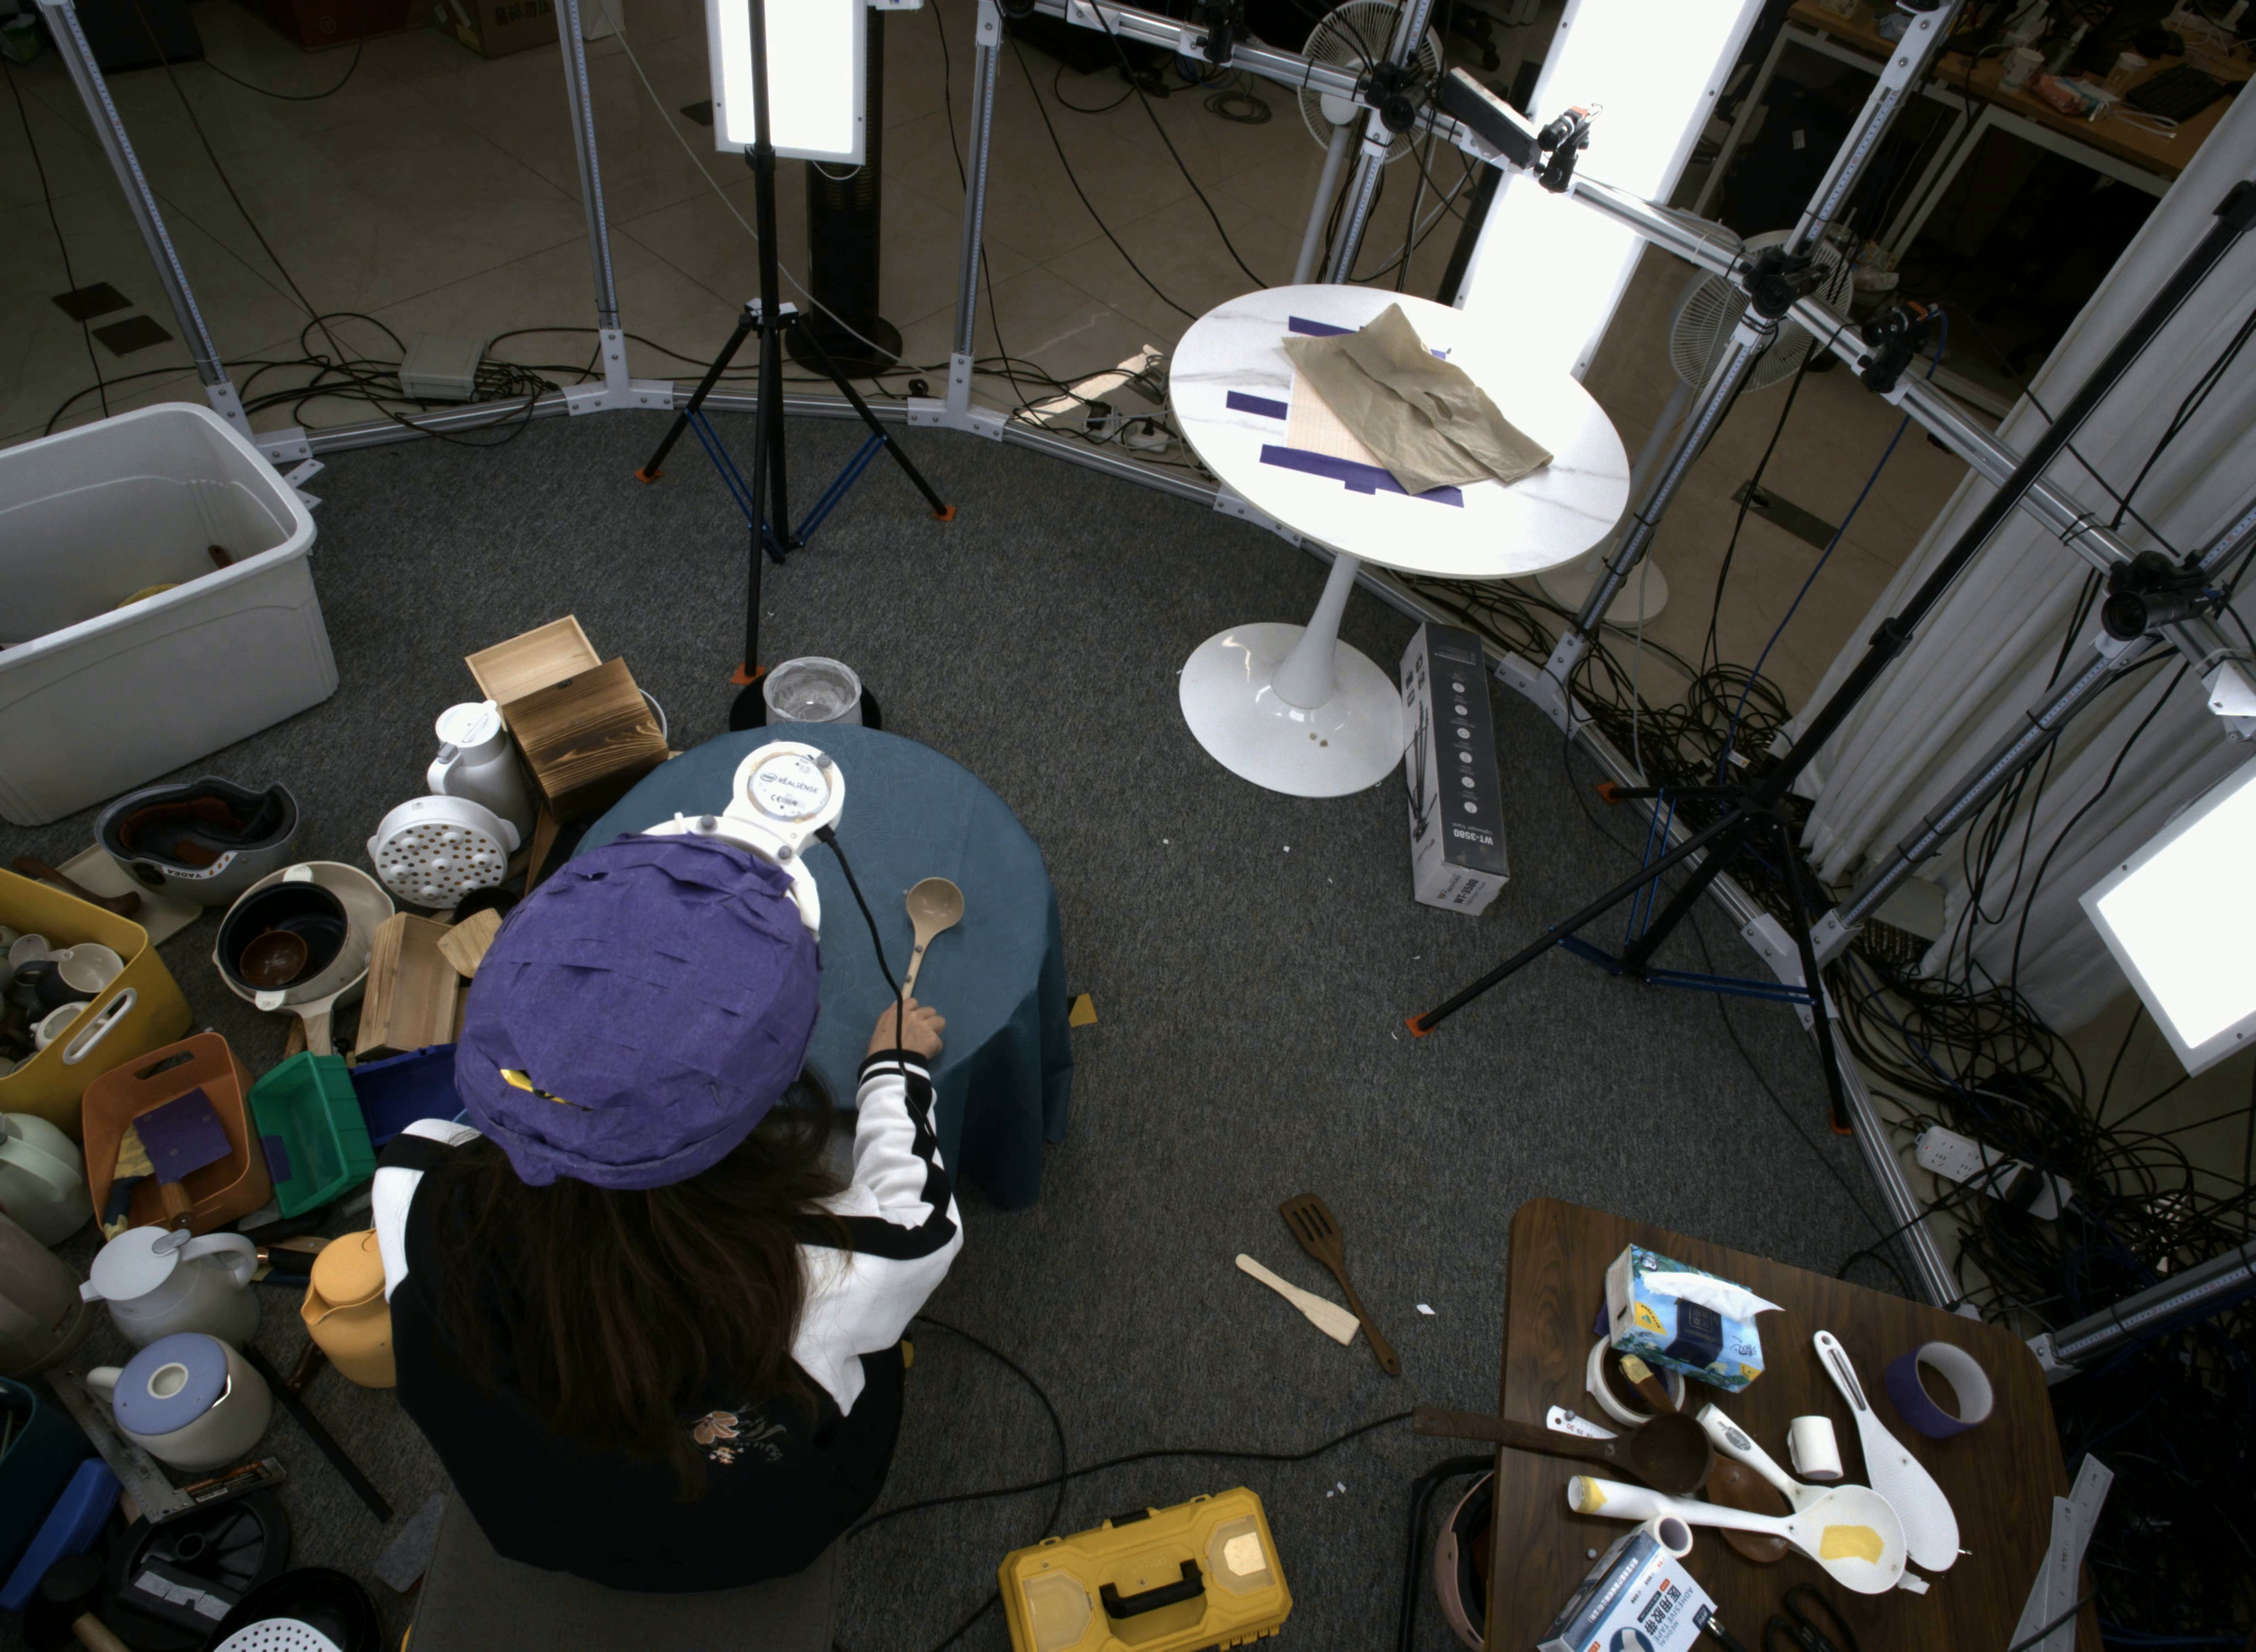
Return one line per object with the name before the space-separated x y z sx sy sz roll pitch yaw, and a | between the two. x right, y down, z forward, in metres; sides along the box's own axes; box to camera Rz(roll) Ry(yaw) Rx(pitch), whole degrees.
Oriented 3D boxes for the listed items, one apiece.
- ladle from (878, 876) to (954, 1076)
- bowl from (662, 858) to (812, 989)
ladle | -0.266 0.172 1.585 0.072 0.073 0.250 18 51 -13
bowl | -0.471 0.127 1.566 0.175 0.072 0.173 7 52 -8
